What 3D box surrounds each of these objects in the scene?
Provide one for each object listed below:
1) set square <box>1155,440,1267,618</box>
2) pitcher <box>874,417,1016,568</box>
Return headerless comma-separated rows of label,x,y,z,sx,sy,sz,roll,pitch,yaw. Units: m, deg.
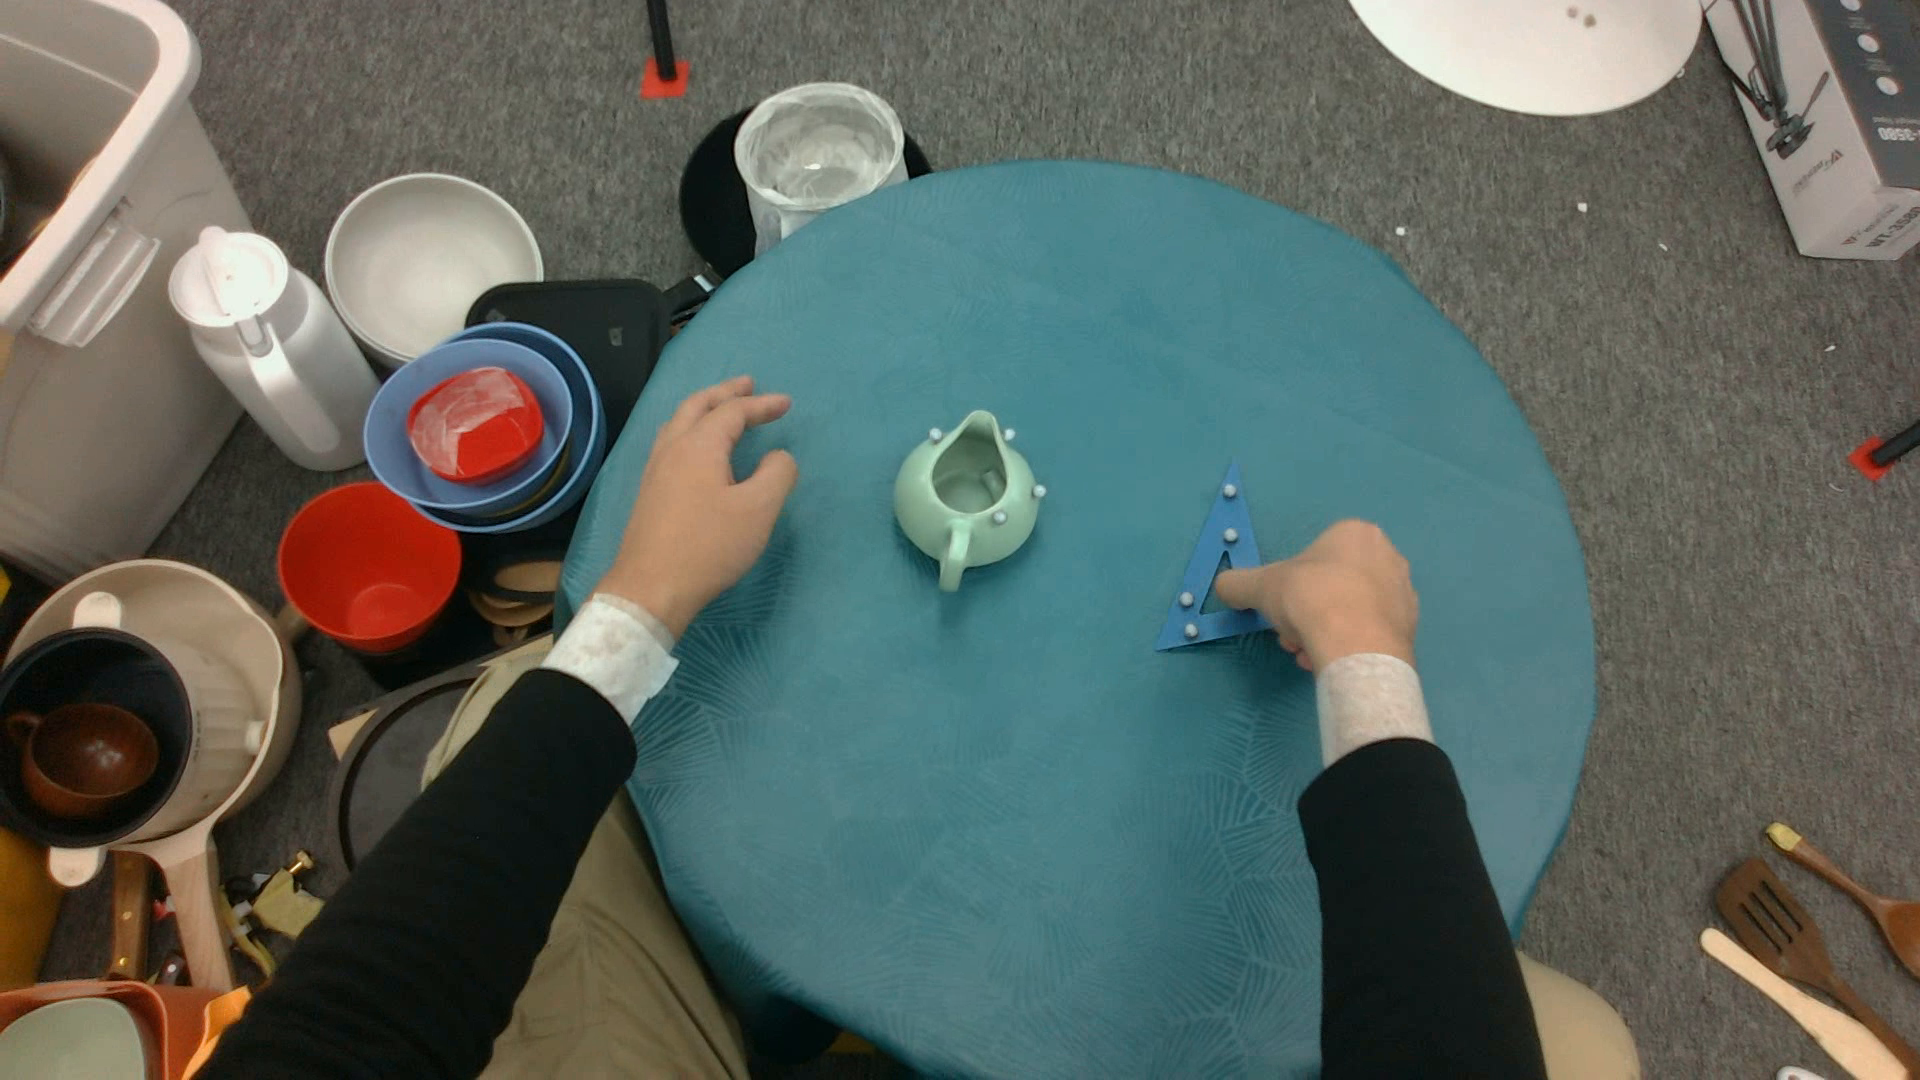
set square,0.166,-0.003,0.815,0.061,0.006,0.132,17,65,28
pitcher,-0.010,-0.021,0.785,0.086,0.060,0.108,30,50,-3
